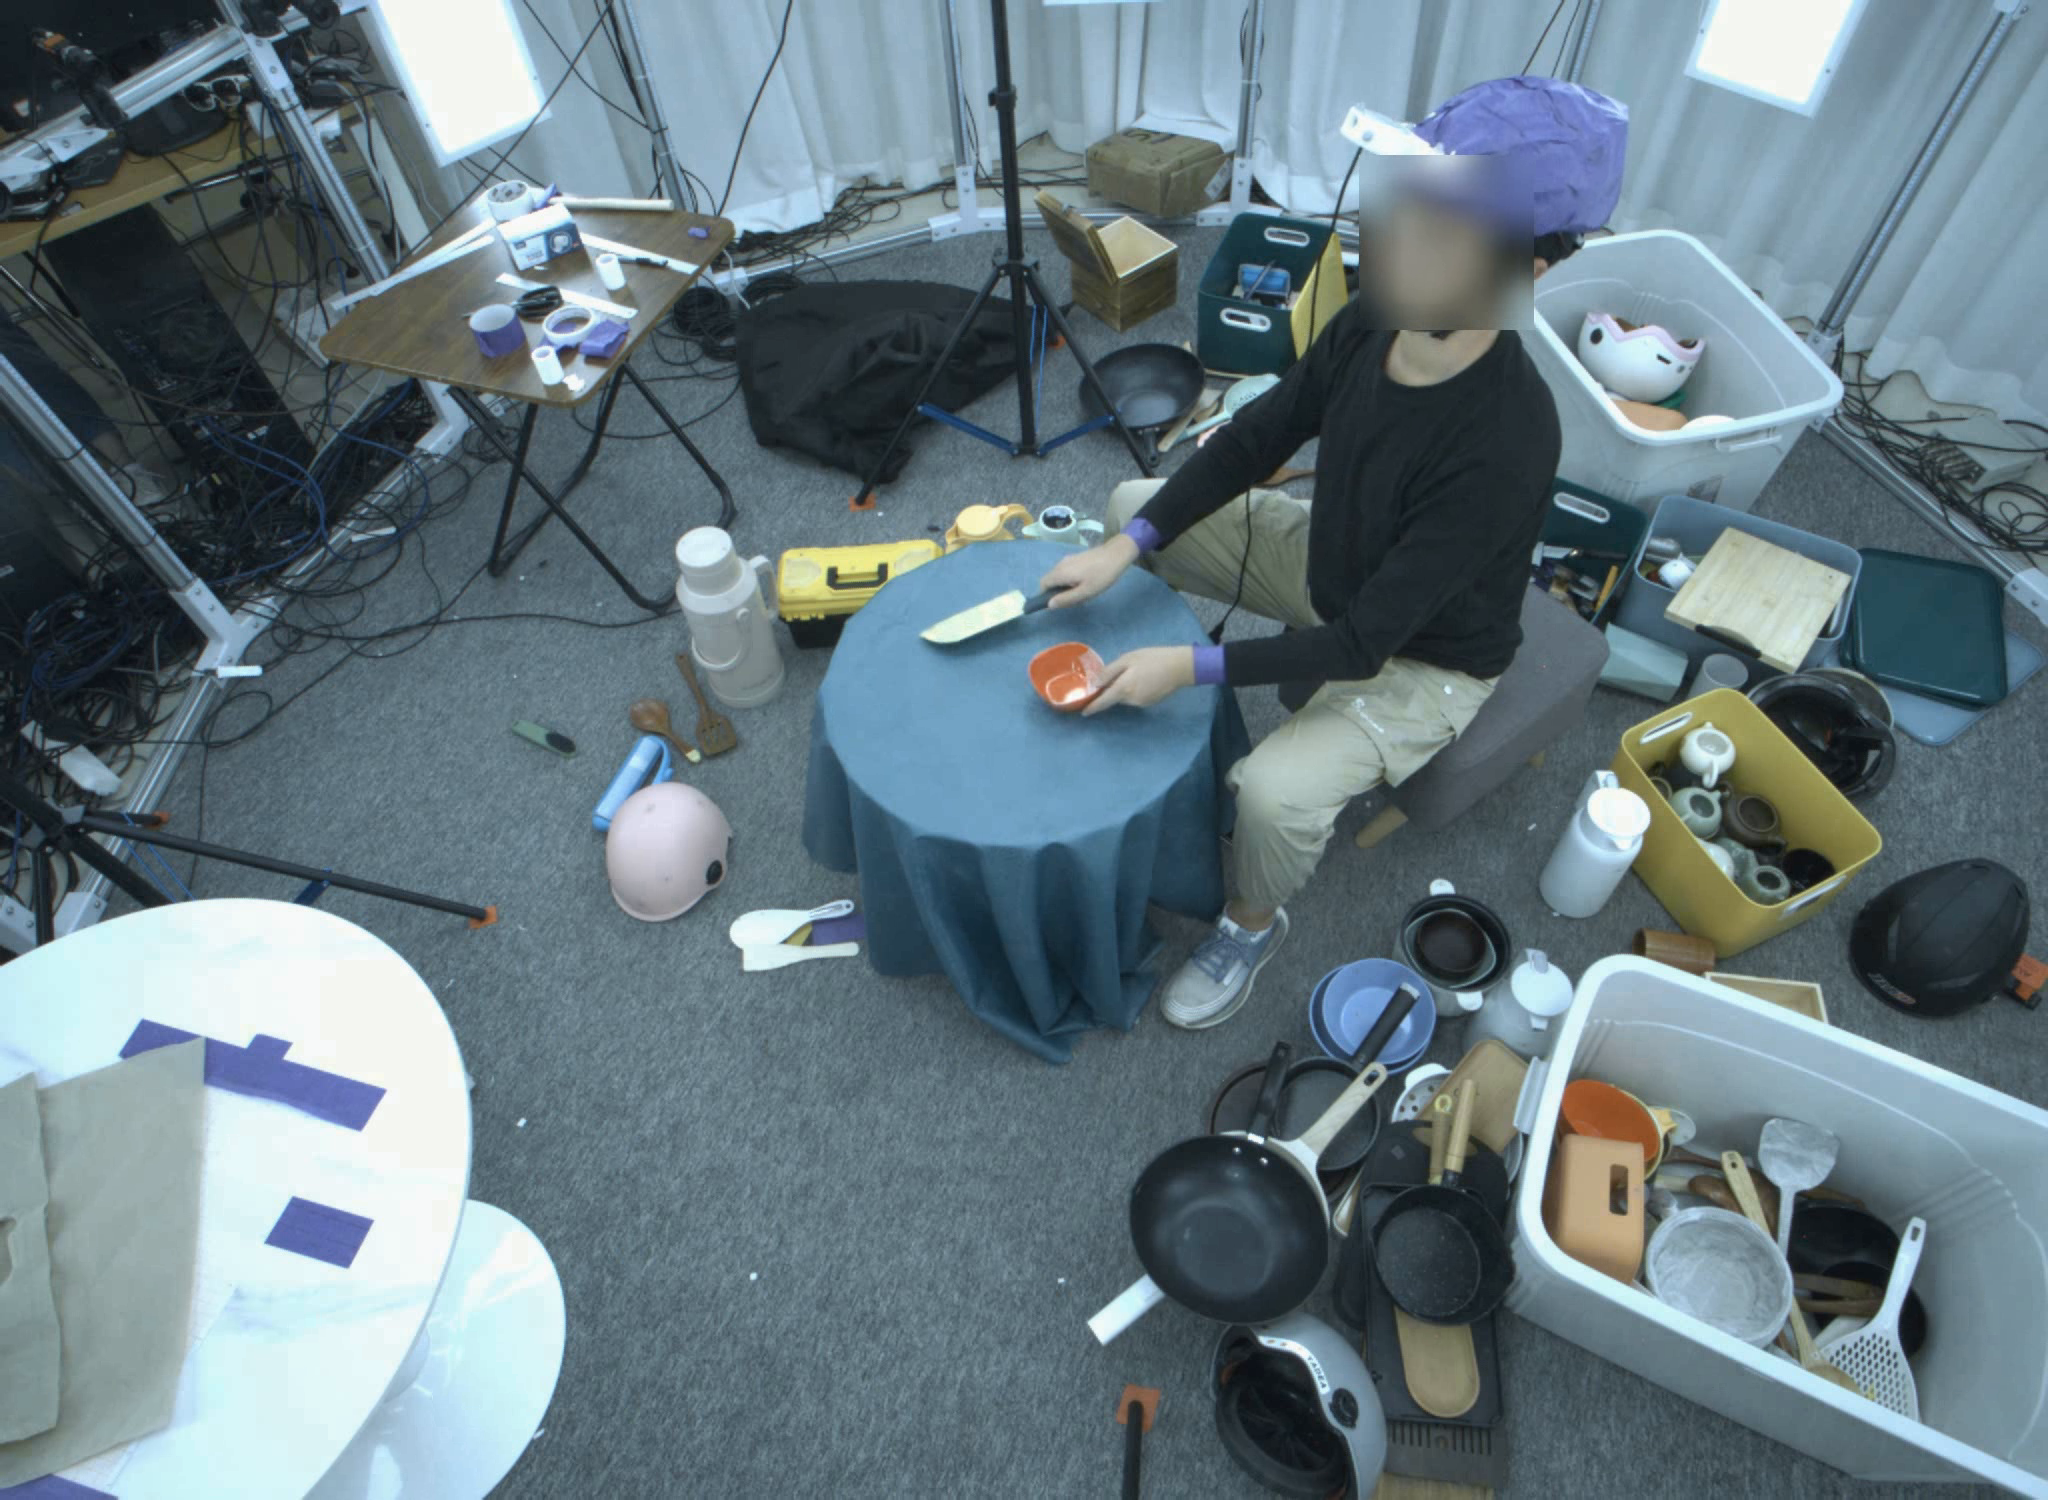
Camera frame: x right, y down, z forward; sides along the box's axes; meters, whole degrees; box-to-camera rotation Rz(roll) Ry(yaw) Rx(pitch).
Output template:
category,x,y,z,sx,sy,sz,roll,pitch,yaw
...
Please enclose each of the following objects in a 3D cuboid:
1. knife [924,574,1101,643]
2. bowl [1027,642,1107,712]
category,x,y,z,sx,sy,sz,roll,pitch,yaw
knife,-0.020,-0.223,1.908,0.291,0.027,0.079,-20,40,-7
bowl,0.065,-0.100,1.820,0.118,0.052,0.117,-2,53,3
